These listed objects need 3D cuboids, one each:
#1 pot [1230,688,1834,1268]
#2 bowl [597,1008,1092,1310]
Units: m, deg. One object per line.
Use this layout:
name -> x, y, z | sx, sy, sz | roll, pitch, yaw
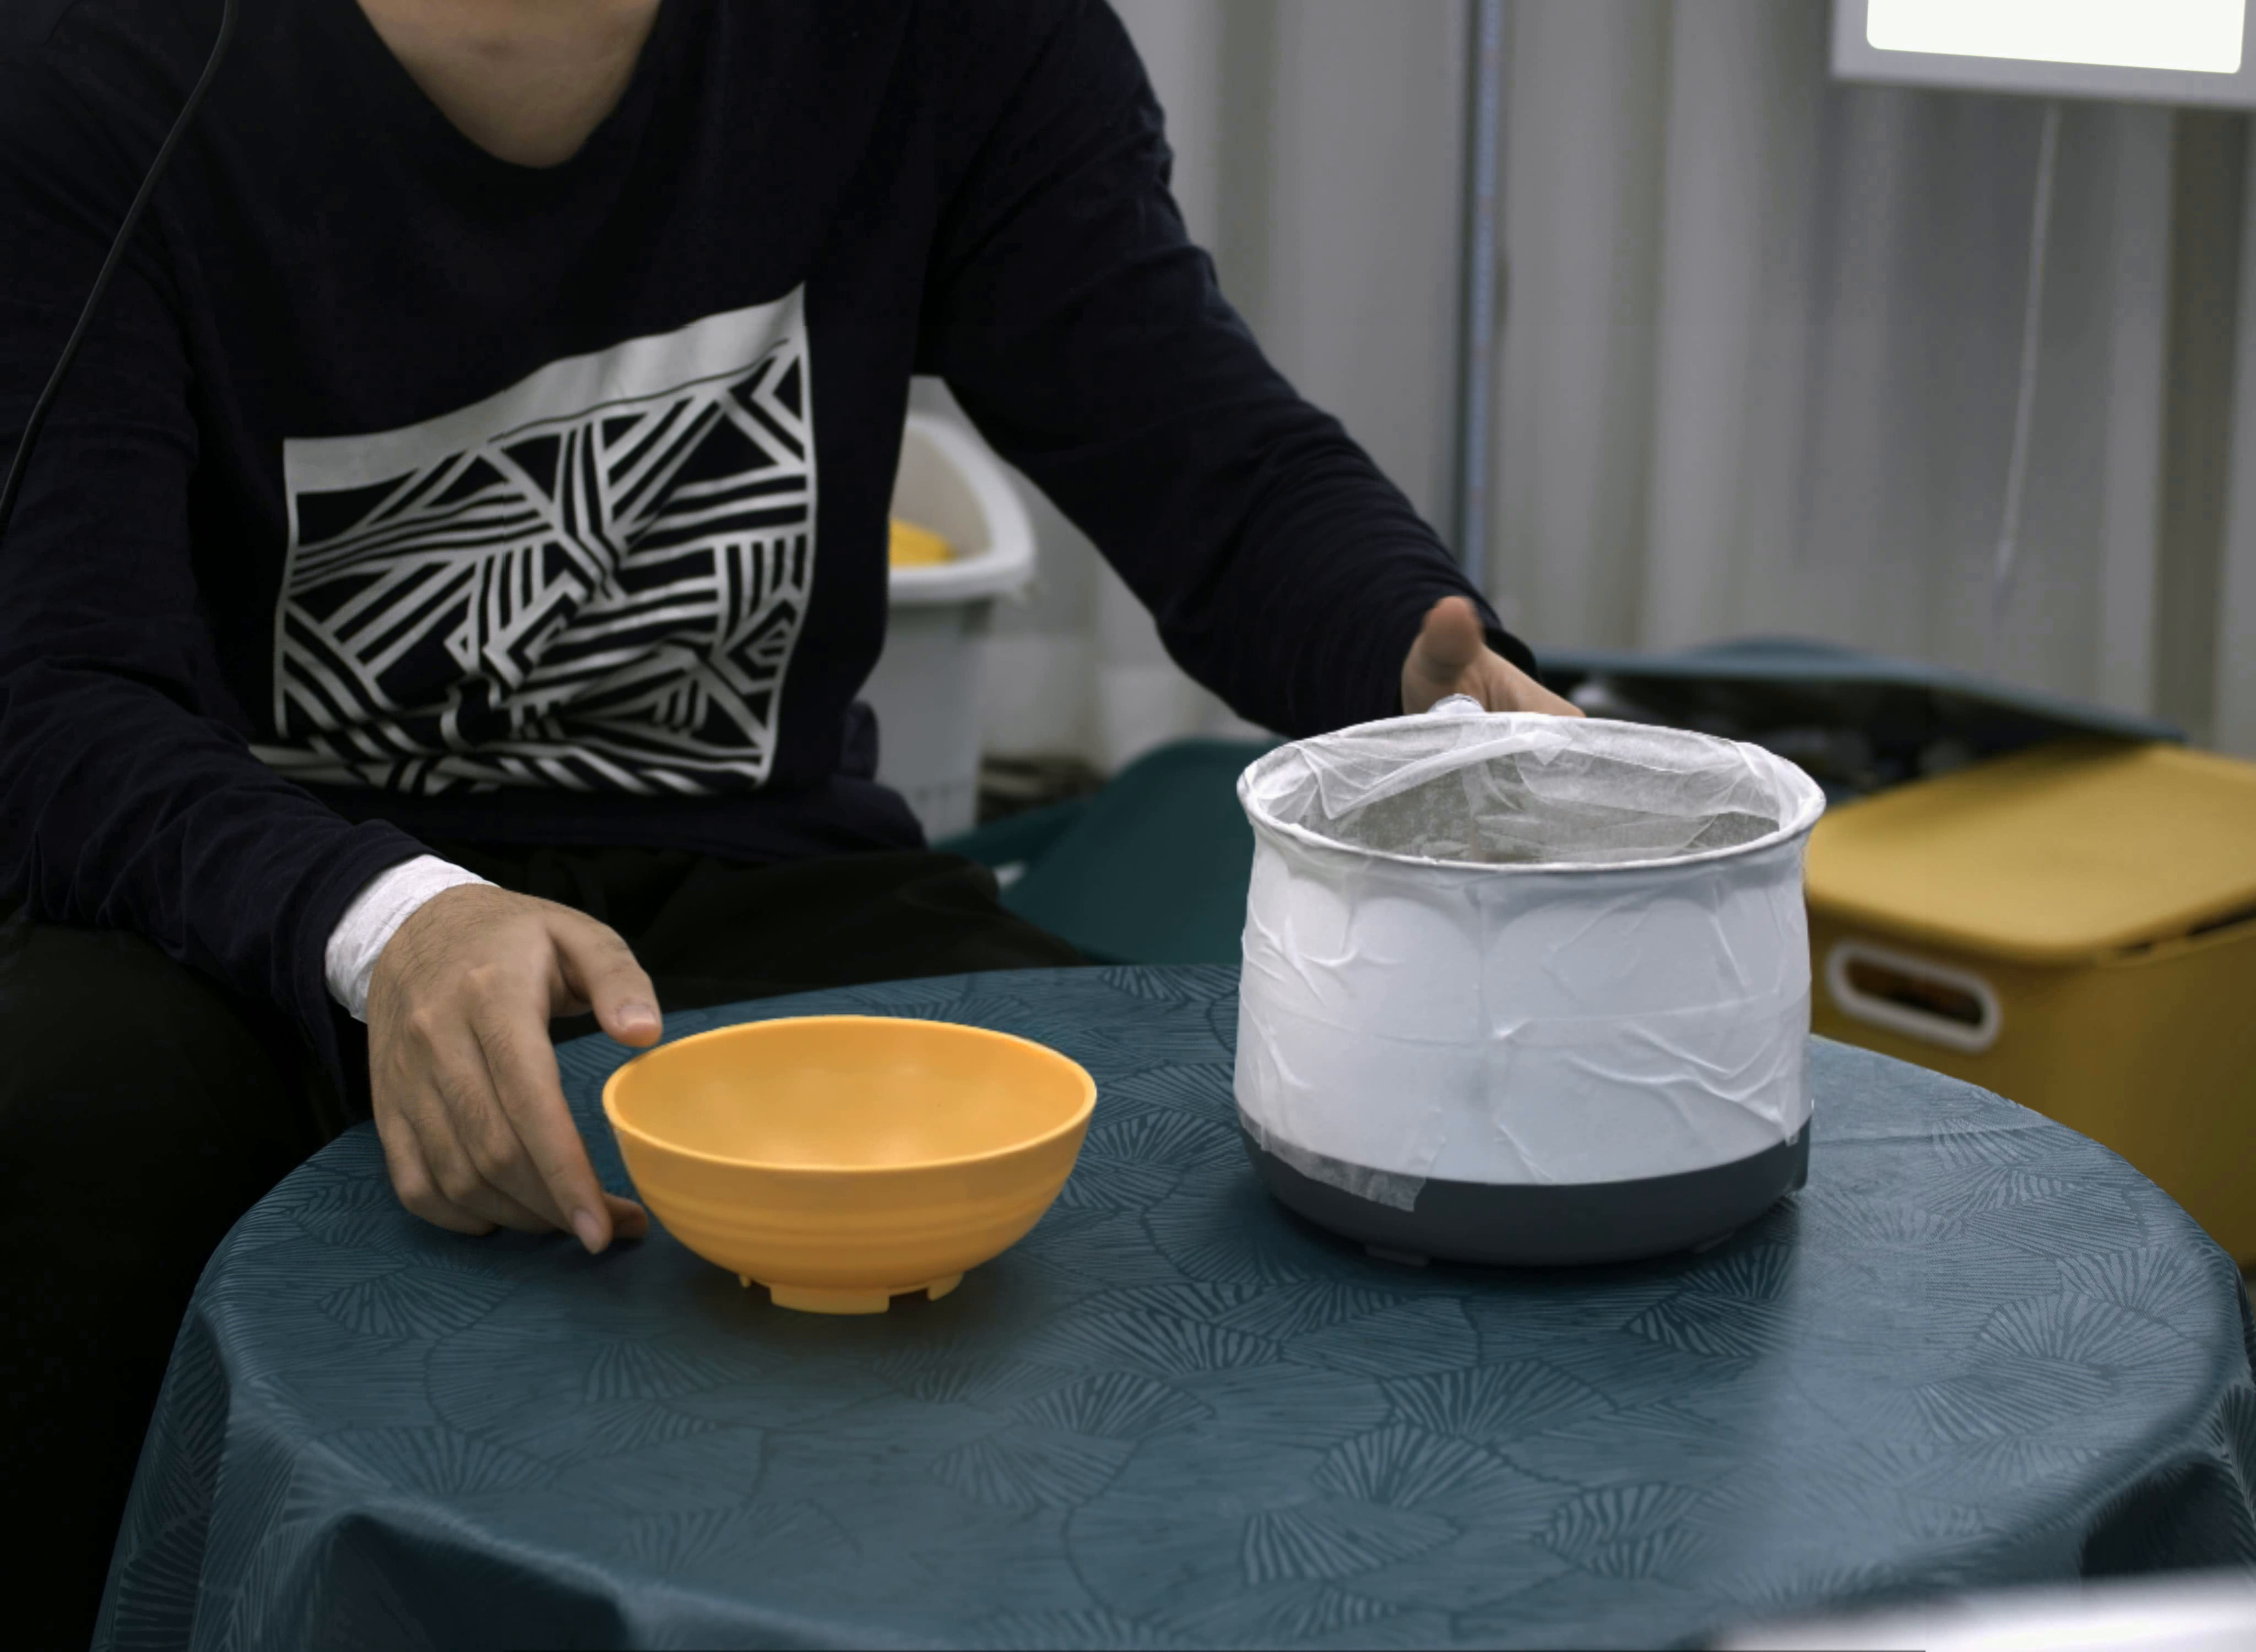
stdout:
pot -> 0.115, 0.042, 1.626 | 0.179, 0.137, 0.231 | 0, 16, -11
bowl -> -0.083, 0.102, 1.540 | 0.145, 0.060, 0.144 | 2, 16, 0
